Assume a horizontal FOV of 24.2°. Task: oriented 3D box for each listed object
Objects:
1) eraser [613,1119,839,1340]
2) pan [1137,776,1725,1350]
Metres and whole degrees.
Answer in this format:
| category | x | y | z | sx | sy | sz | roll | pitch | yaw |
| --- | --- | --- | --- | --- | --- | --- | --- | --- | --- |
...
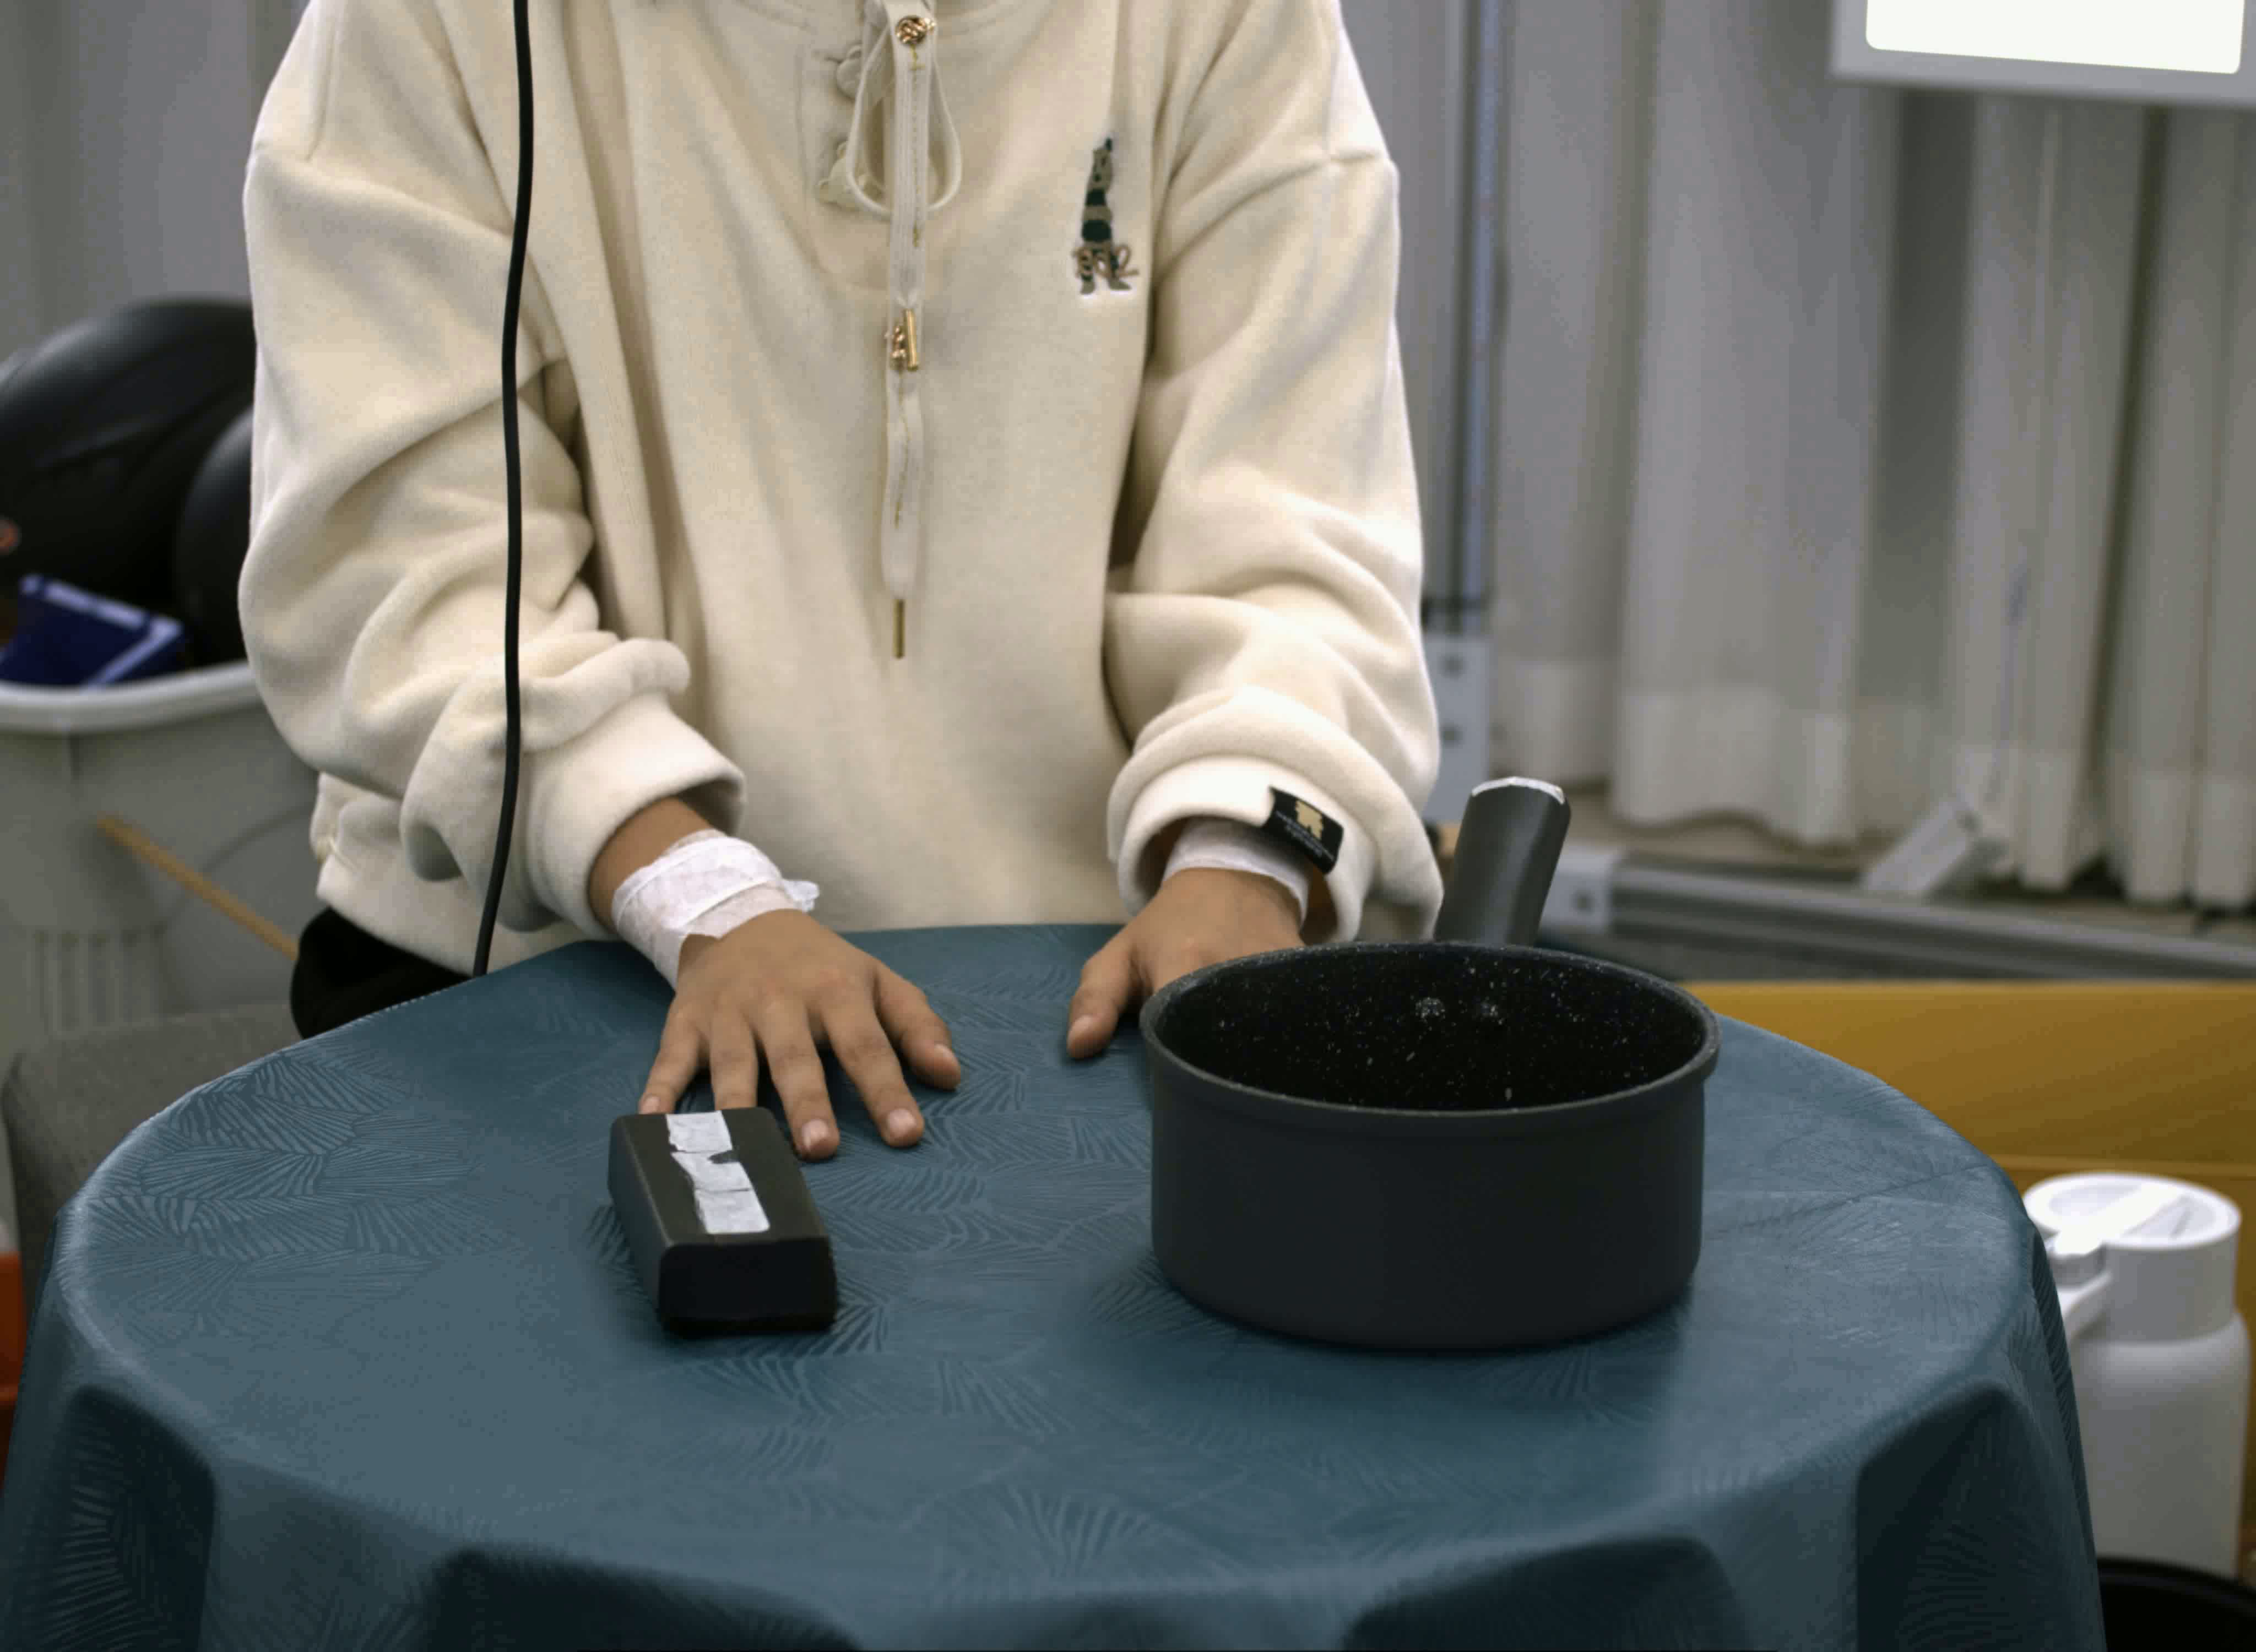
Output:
| category | x | y | z | sx | sy | sz | roll | pitch | yaw |
| --- | --- | --- | --- | --- | --- | --- | --- | --- | --- |
| eraser | -0.119 | 0.117 | 1.549 | 0.053 | 0.031 | 0.124 | -2 | 14 | -11 |
| pan | 0.106 | 0.069 | 1.624 | 0.171 | 0.087 | 0.328 | 4 | 17 | 12 |
